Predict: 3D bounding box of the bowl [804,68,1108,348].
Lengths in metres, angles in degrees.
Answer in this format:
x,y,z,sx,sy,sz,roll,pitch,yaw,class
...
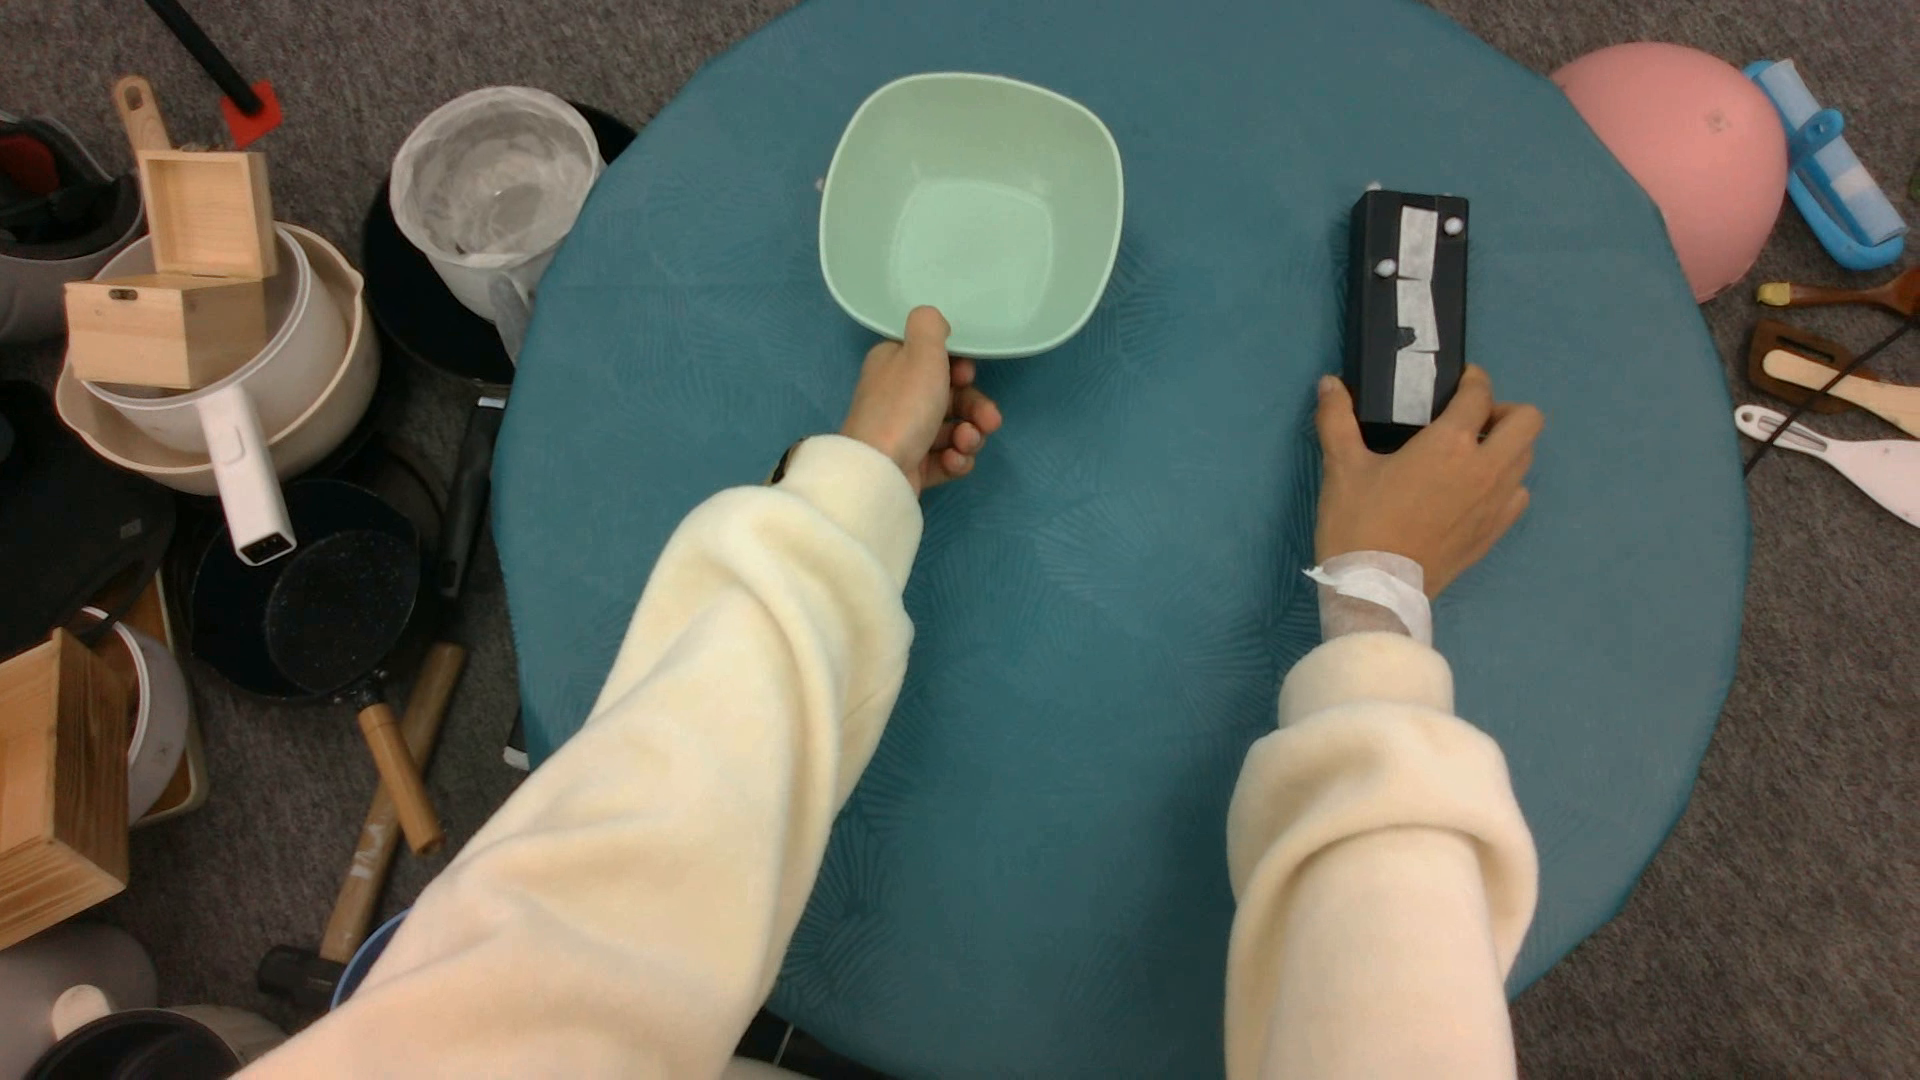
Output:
x,y,z,sx,sy,sz,roll,pitch,yaw,class
-0.001,-0.150,0.661,0.151,0.058,0.152,0,75,2,bowl

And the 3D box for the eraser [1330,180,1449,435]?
x,y,z,sx,sy,sz,roll,pitch,yaw,class
0.209,-0.114,0.672,0.053,0.030,0.126,4,78,2,eraser
